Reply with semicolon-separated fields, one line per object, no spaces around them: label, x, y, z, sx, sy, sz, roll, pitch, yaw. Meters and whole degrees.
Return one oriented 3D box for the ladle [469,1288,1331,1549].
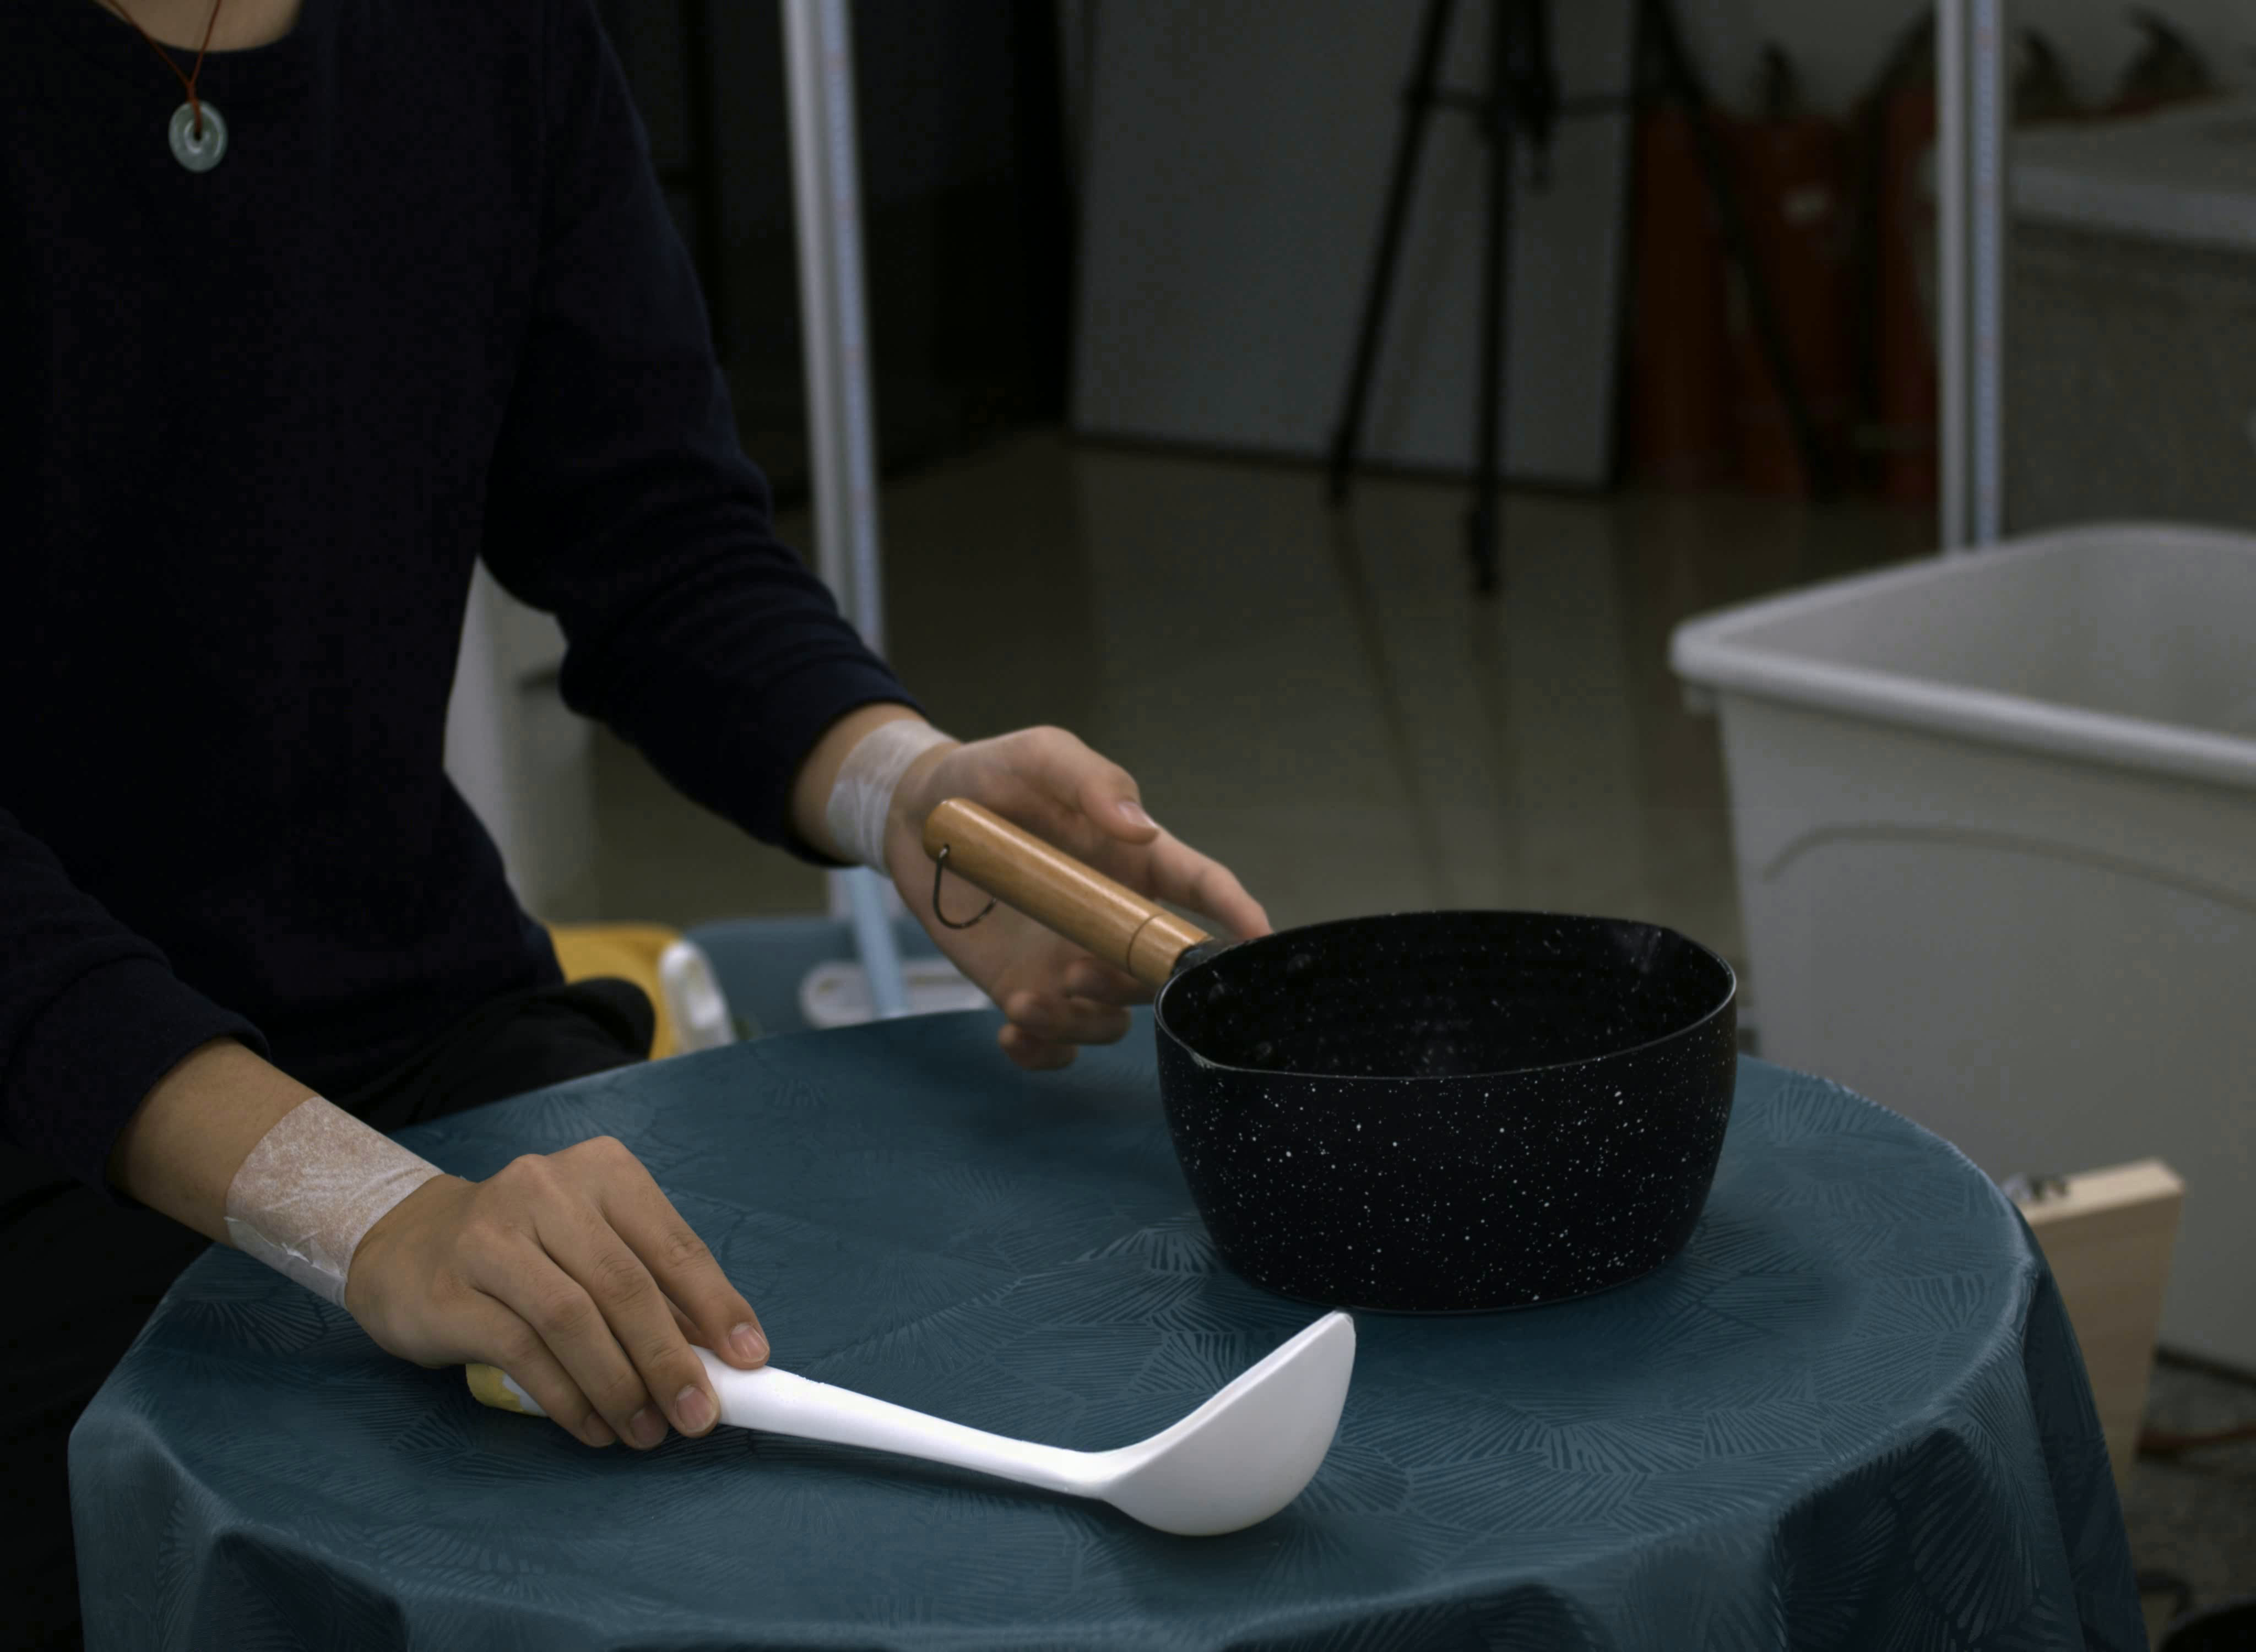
ladle;-0.070;0.156;1.520;0.295;0.070;0.089;4;29;35

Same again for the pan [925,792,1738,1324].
pan;0.048;0.068;1.746;0.203;0.109;0.346;-17;19;-39
